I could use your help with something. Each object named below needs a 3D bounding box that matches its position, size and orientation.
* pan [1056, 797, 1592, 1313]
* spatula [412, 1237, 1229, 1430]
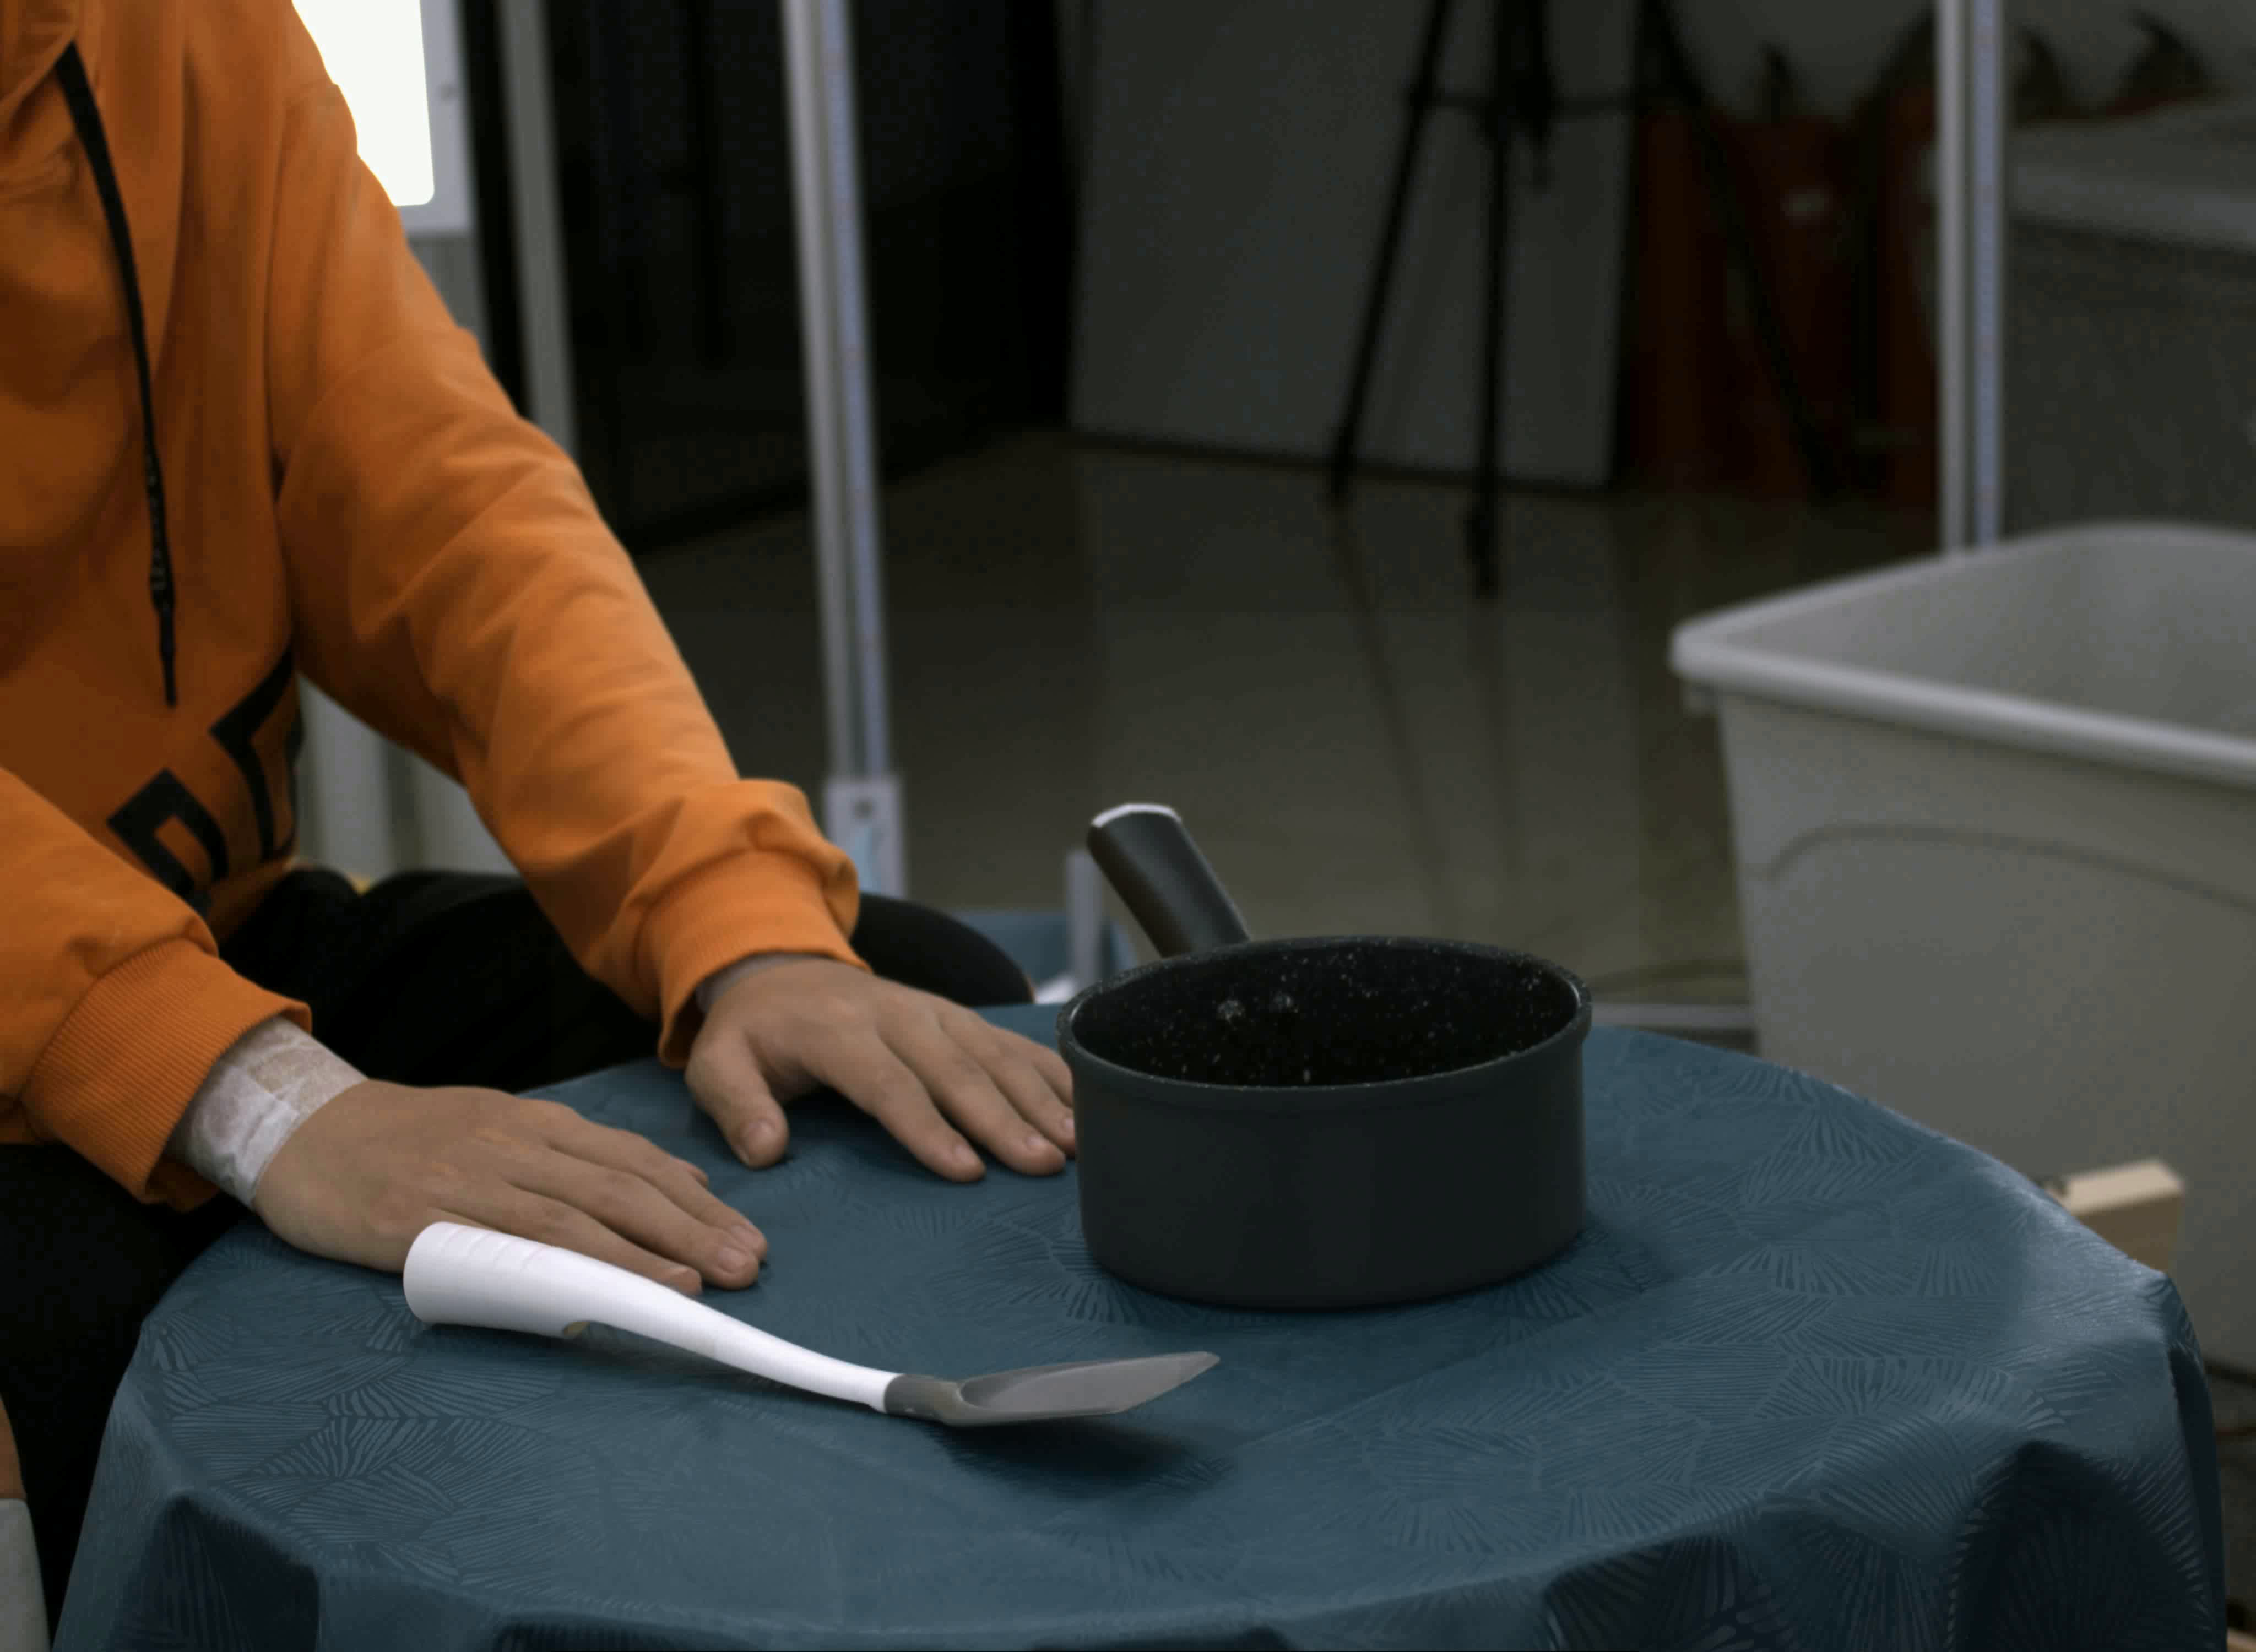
[{"bbox_3d":[0.047,0.072,1.780,0.169,0.087,0.331,-6,15,-10],"label":"pan"},{"bbox_3d":[-0.096,0.154,1.600,0.289,0.032,0.057,5,13,36],"label":"spatula"}]
